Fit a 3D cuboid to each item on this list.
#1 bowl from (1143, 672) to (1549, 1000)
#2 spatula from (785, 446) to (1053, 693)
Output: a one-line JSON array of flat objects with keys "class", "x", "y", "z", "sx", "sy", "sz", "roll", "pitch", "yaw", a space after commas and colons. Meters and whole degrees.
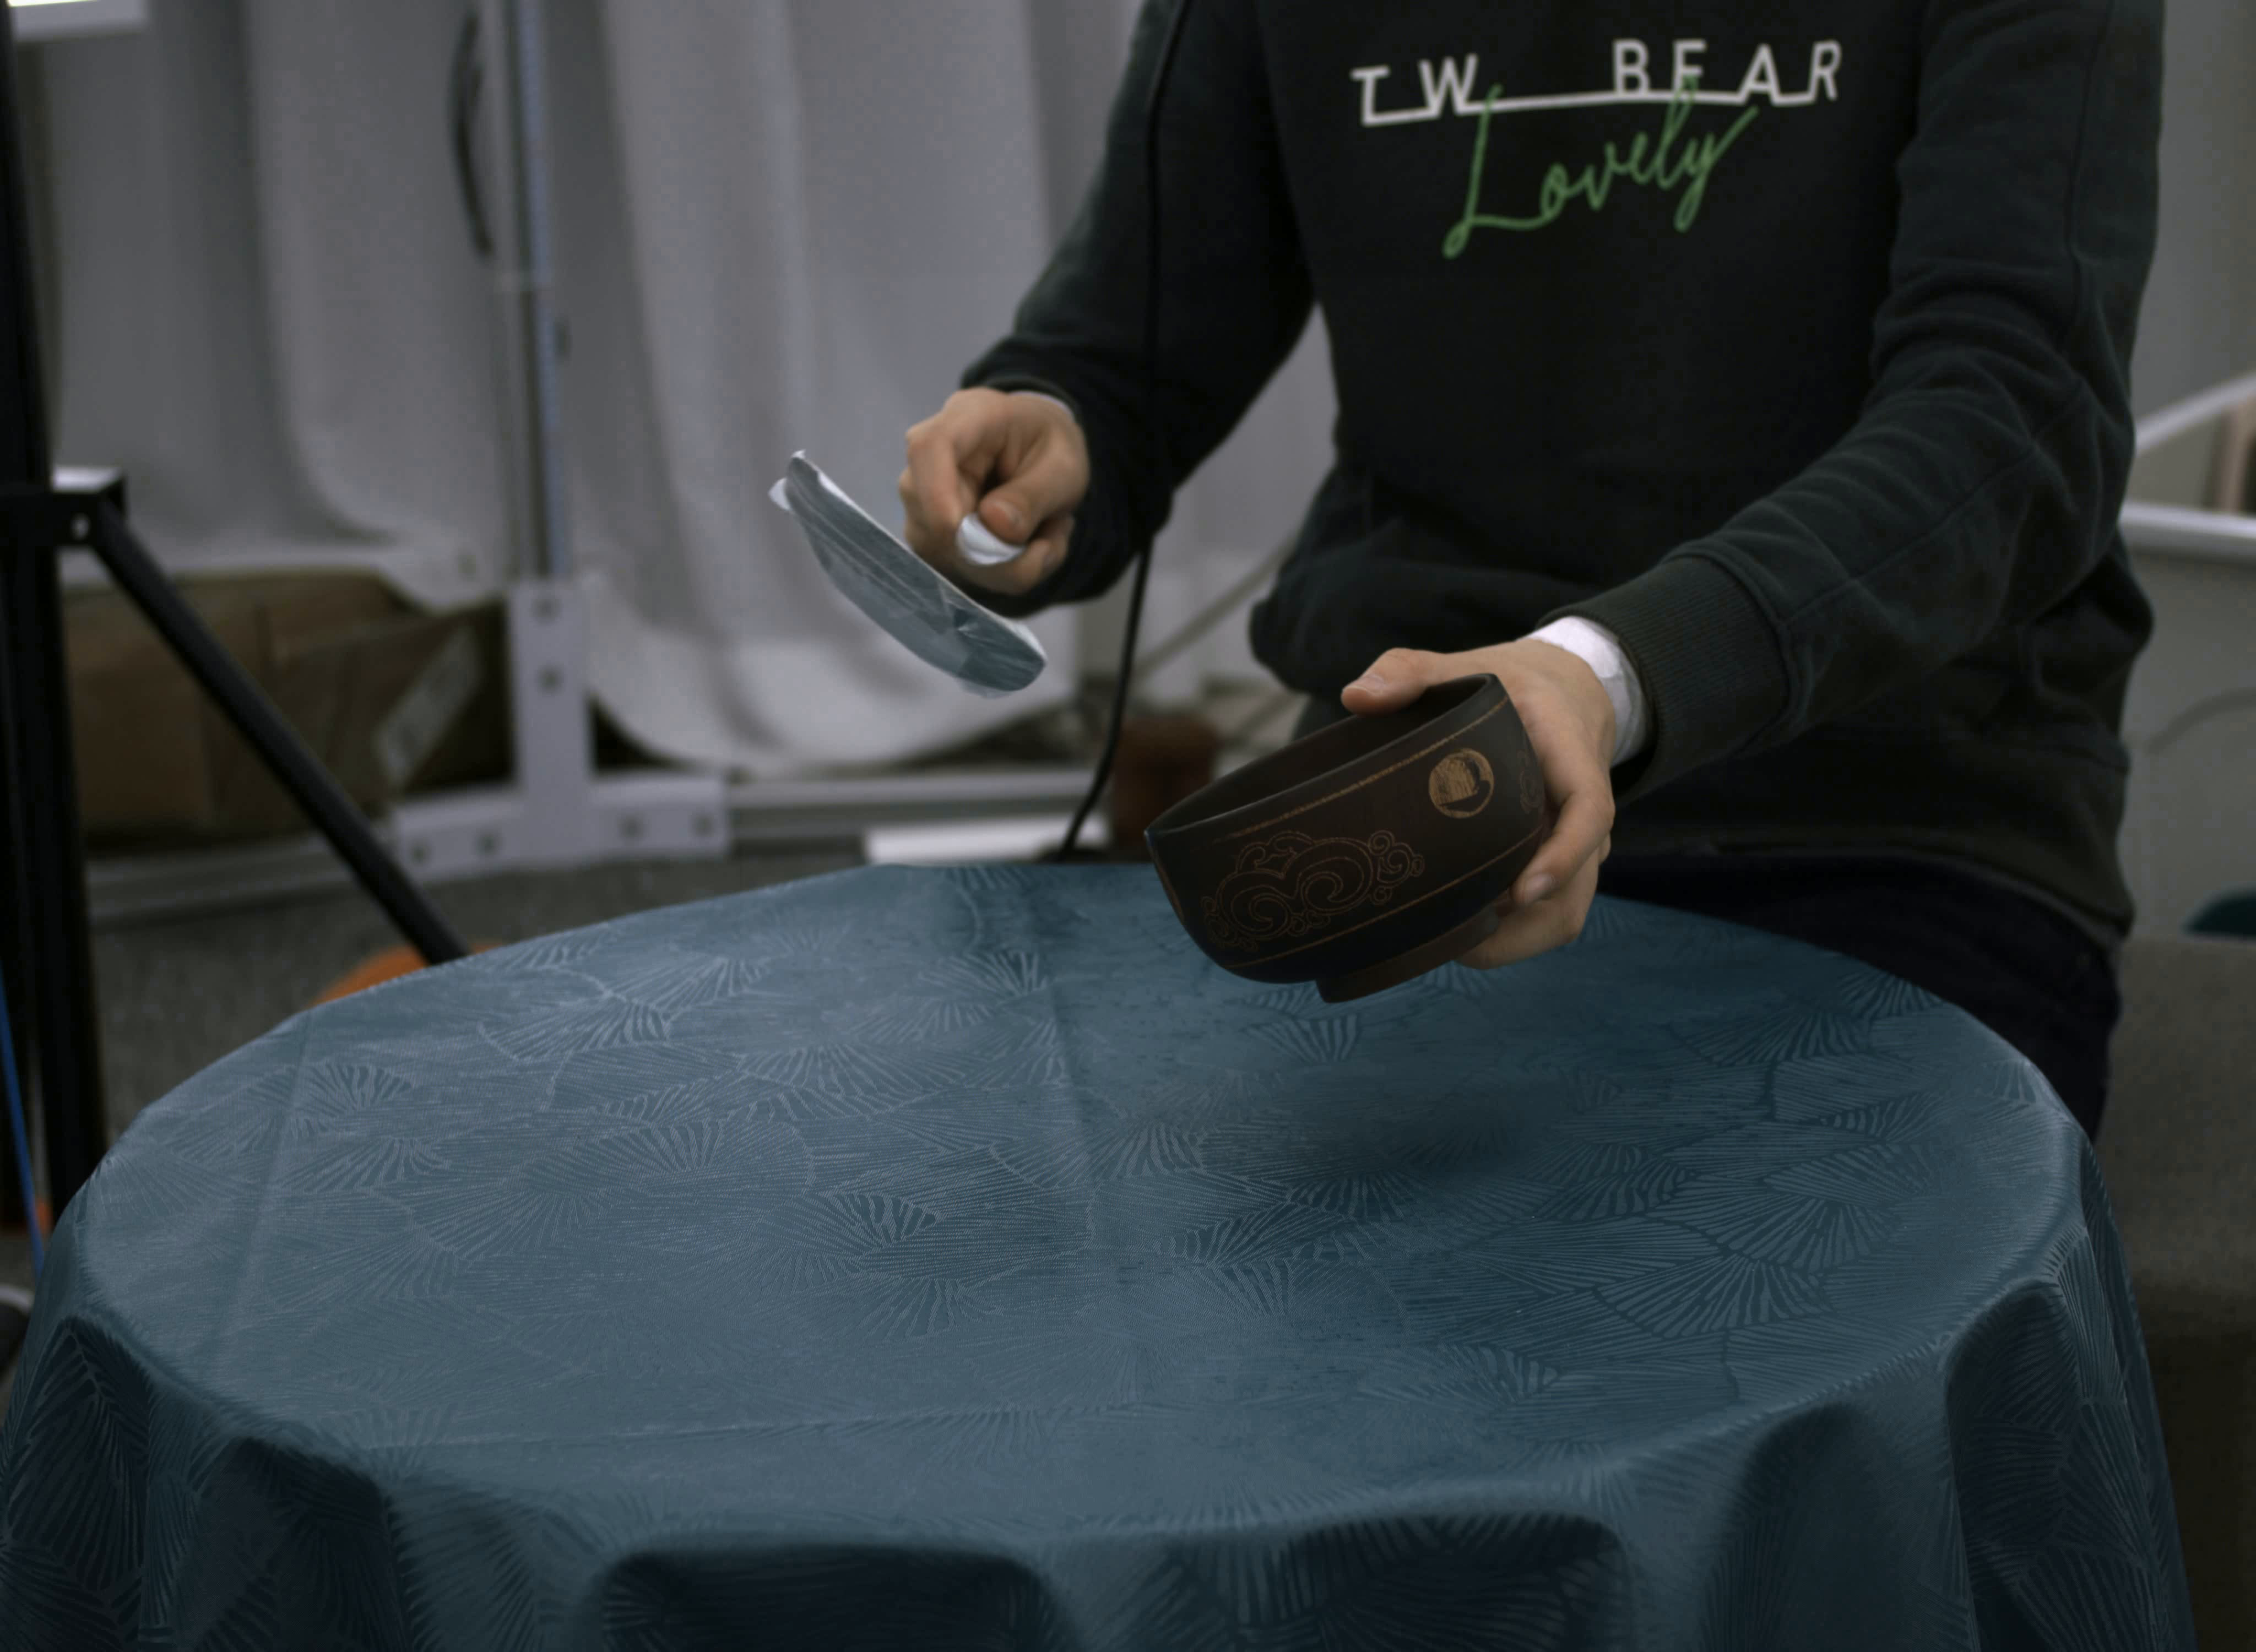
[{"class": "bowl", "x": 0.070, "y": 0.009, "z": 1.556, "sx": 0.117, "sy": 0.070, "sz": 0.118, "roll": -22, "pitch": 5, "yaw": 0}, {"class": "spatula", "x": -0.050, "y": -0.087, "z": 1.732, "sx": 0.099, "sy": 0.045, "sz": 0.363, "roll": 38, "pitch": 10, "yaw": 2}]
